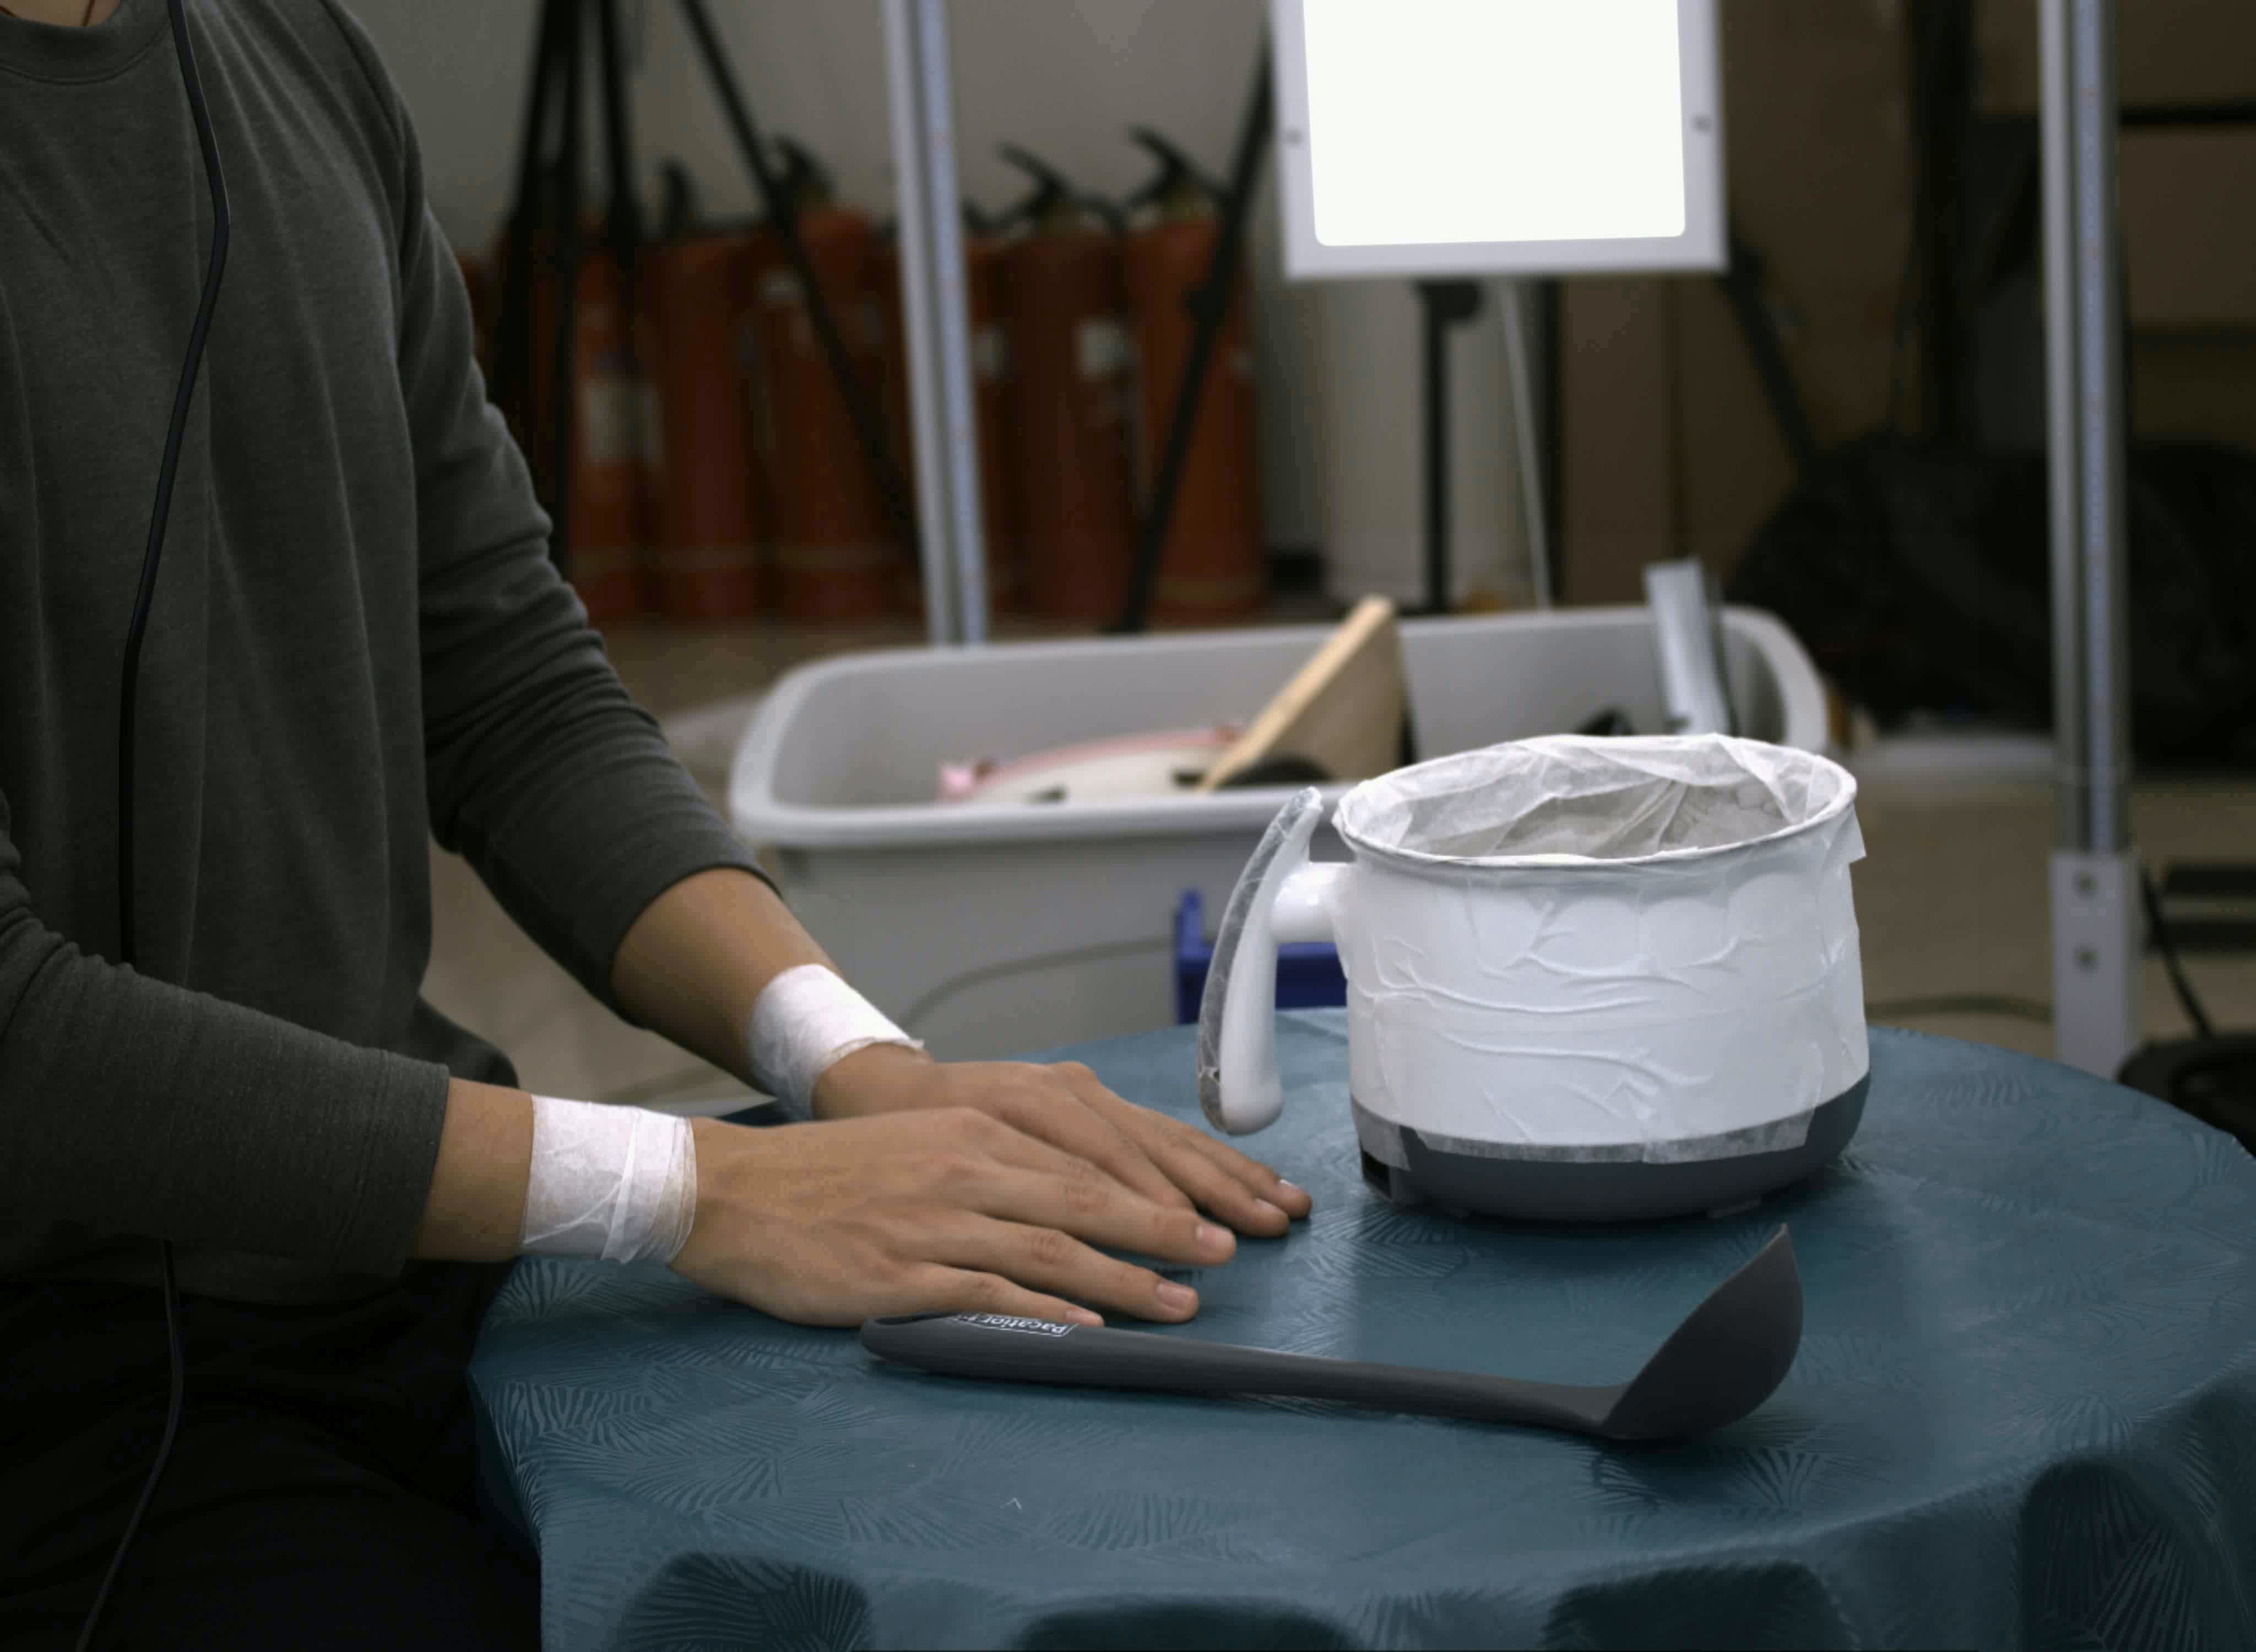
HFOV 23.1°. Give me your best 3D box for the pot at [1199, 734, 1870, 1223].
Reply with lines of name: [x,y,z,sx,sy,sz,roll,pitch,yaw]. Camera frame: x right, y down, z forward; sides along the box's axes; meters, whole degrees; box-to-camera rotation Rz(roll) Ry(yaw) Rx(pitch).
pot: [0.136,0.052,1.871,0.236,0.137,0.176,-2,14,15]

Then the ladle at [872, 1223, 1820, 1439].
ladle: [0.059,0.146,1.669,0.319,0.064,0.084,2,11,29]
